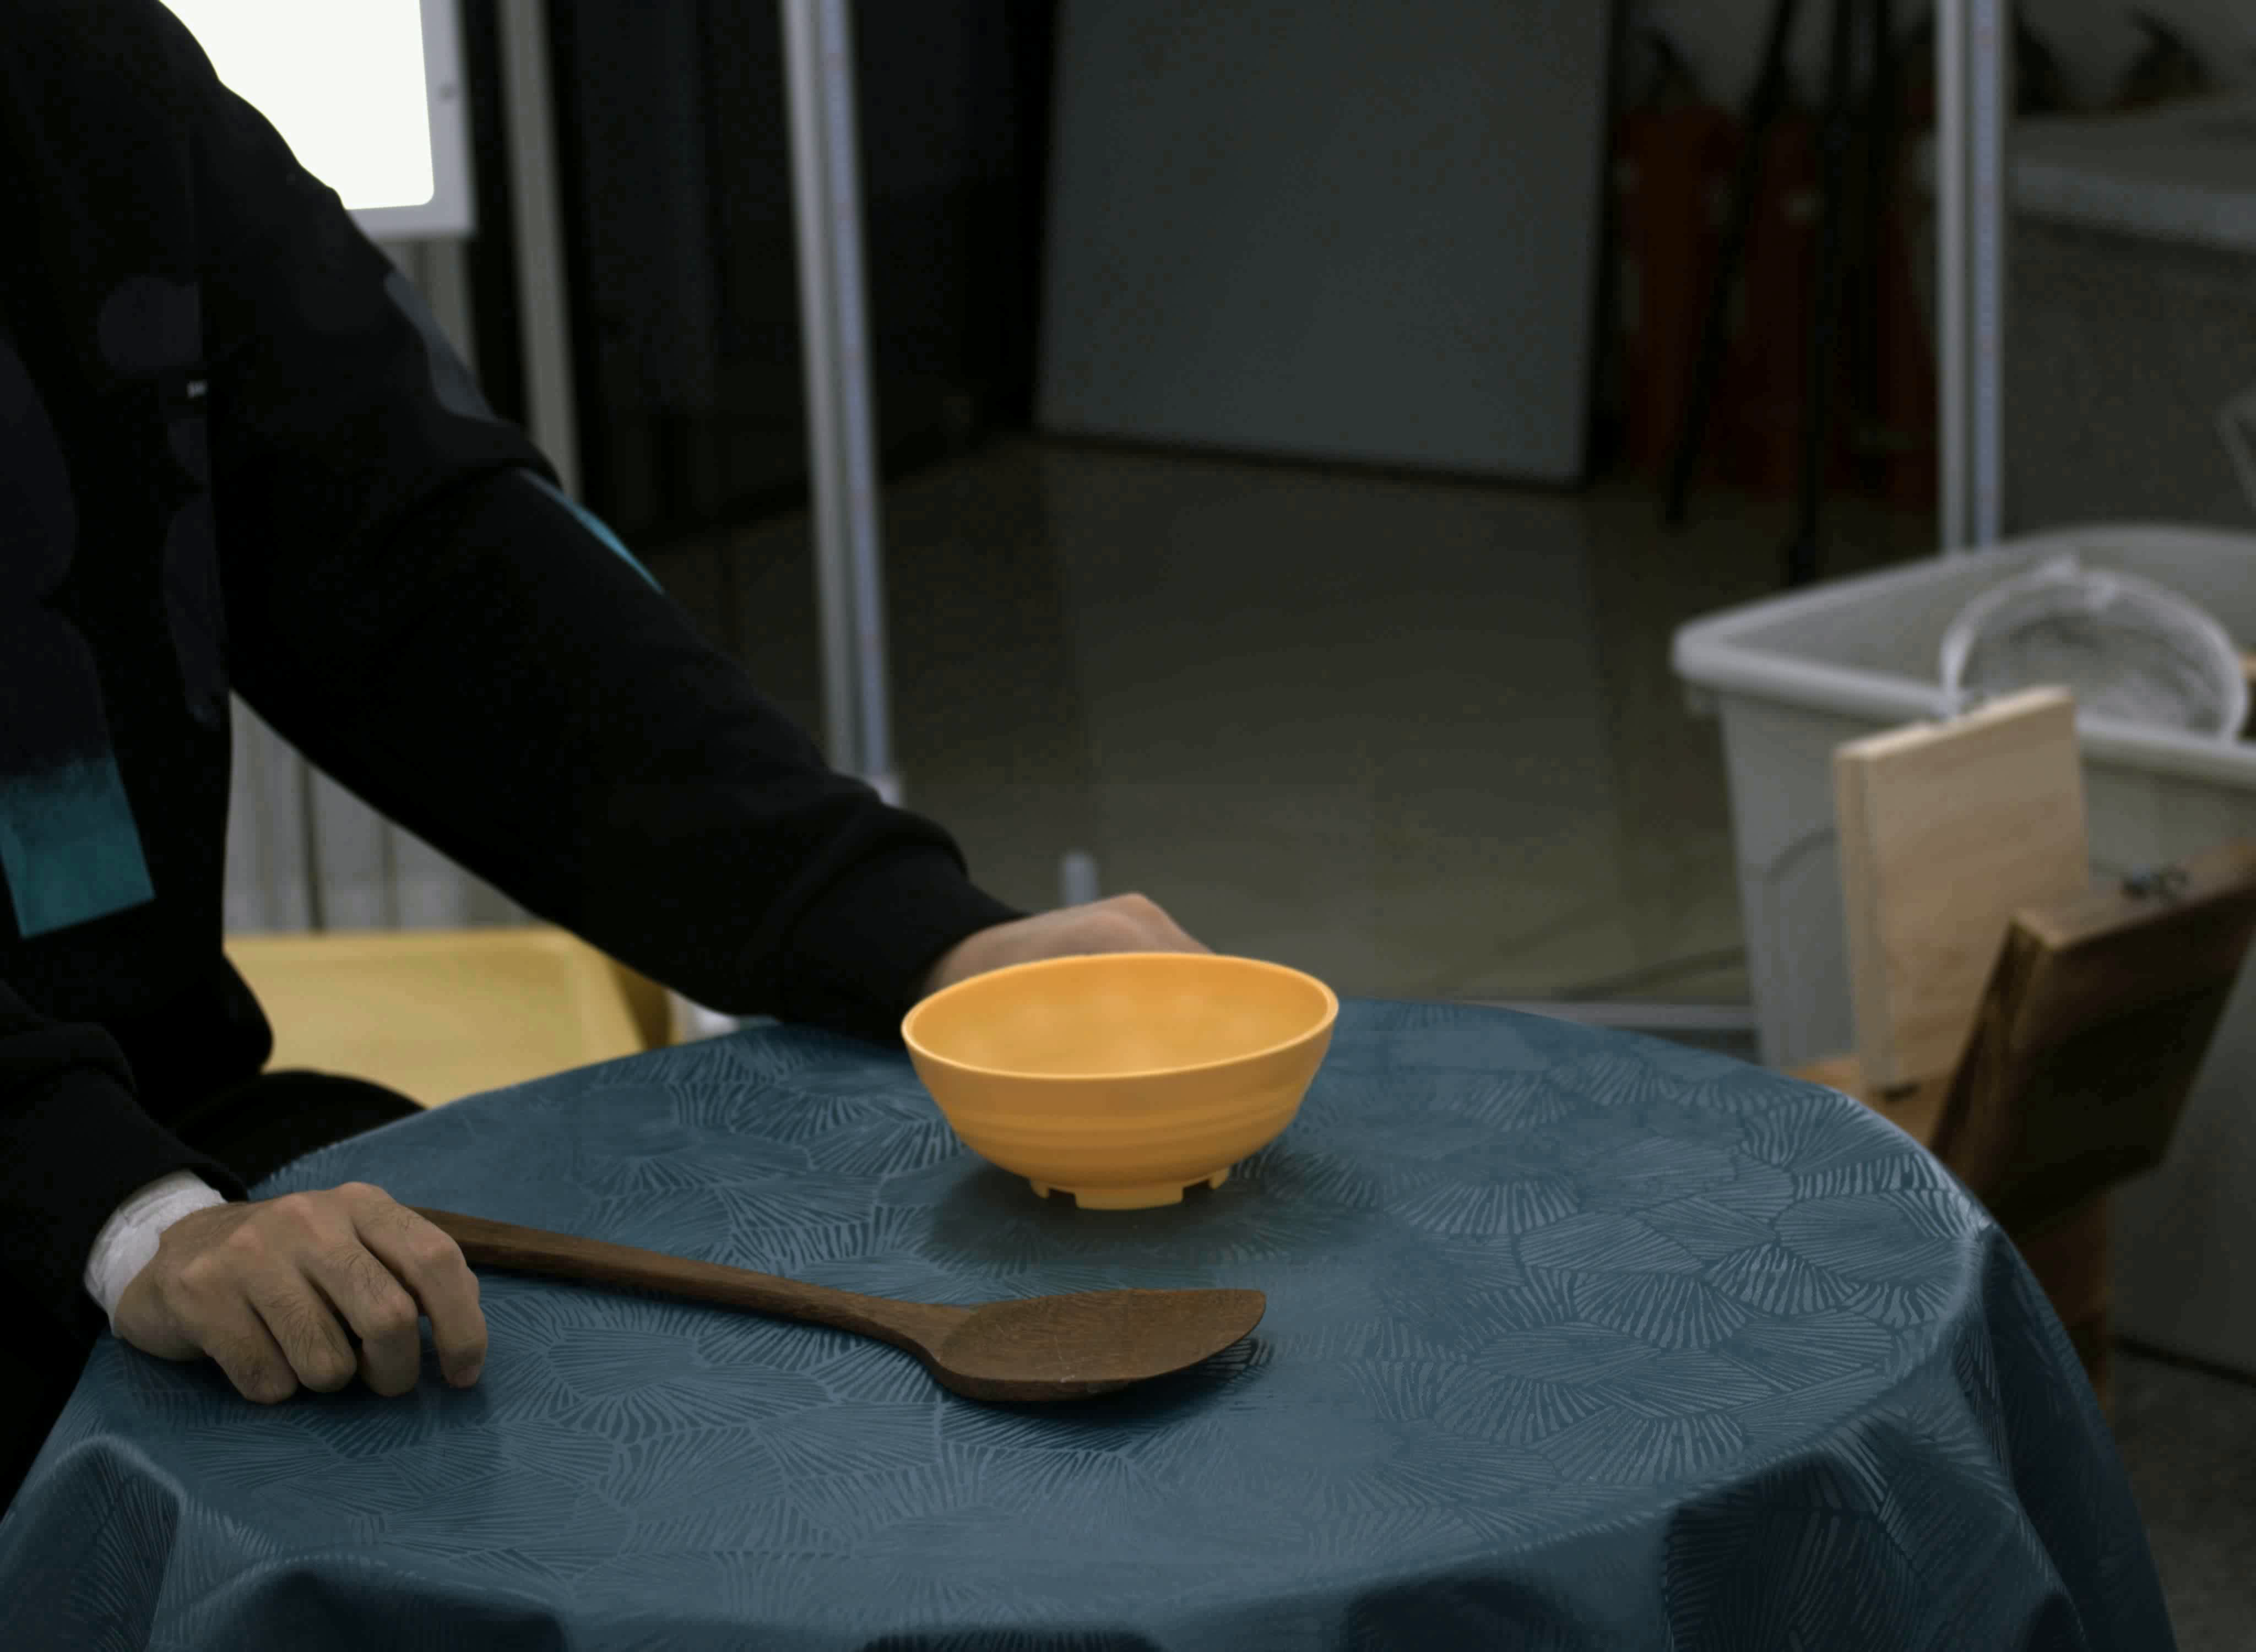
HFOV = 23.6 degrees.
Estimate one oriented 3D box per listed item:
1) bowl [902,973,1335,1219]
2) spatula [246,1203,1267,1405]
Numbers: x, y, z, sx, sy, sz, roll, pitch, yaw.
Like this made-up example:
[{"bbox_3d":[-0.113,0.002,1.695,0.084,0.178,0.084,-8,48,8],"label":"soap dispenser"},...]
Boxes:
[{"bbox_3d":[-0.002,0.092,1.775,0.143,0.061,0.145,-3,11,0],"label":"bowl"},{"bbox_3d":[-0.131,0.144,1.689,0.388,0.016,0.094,5,16,34],"label":"spatula"}]
